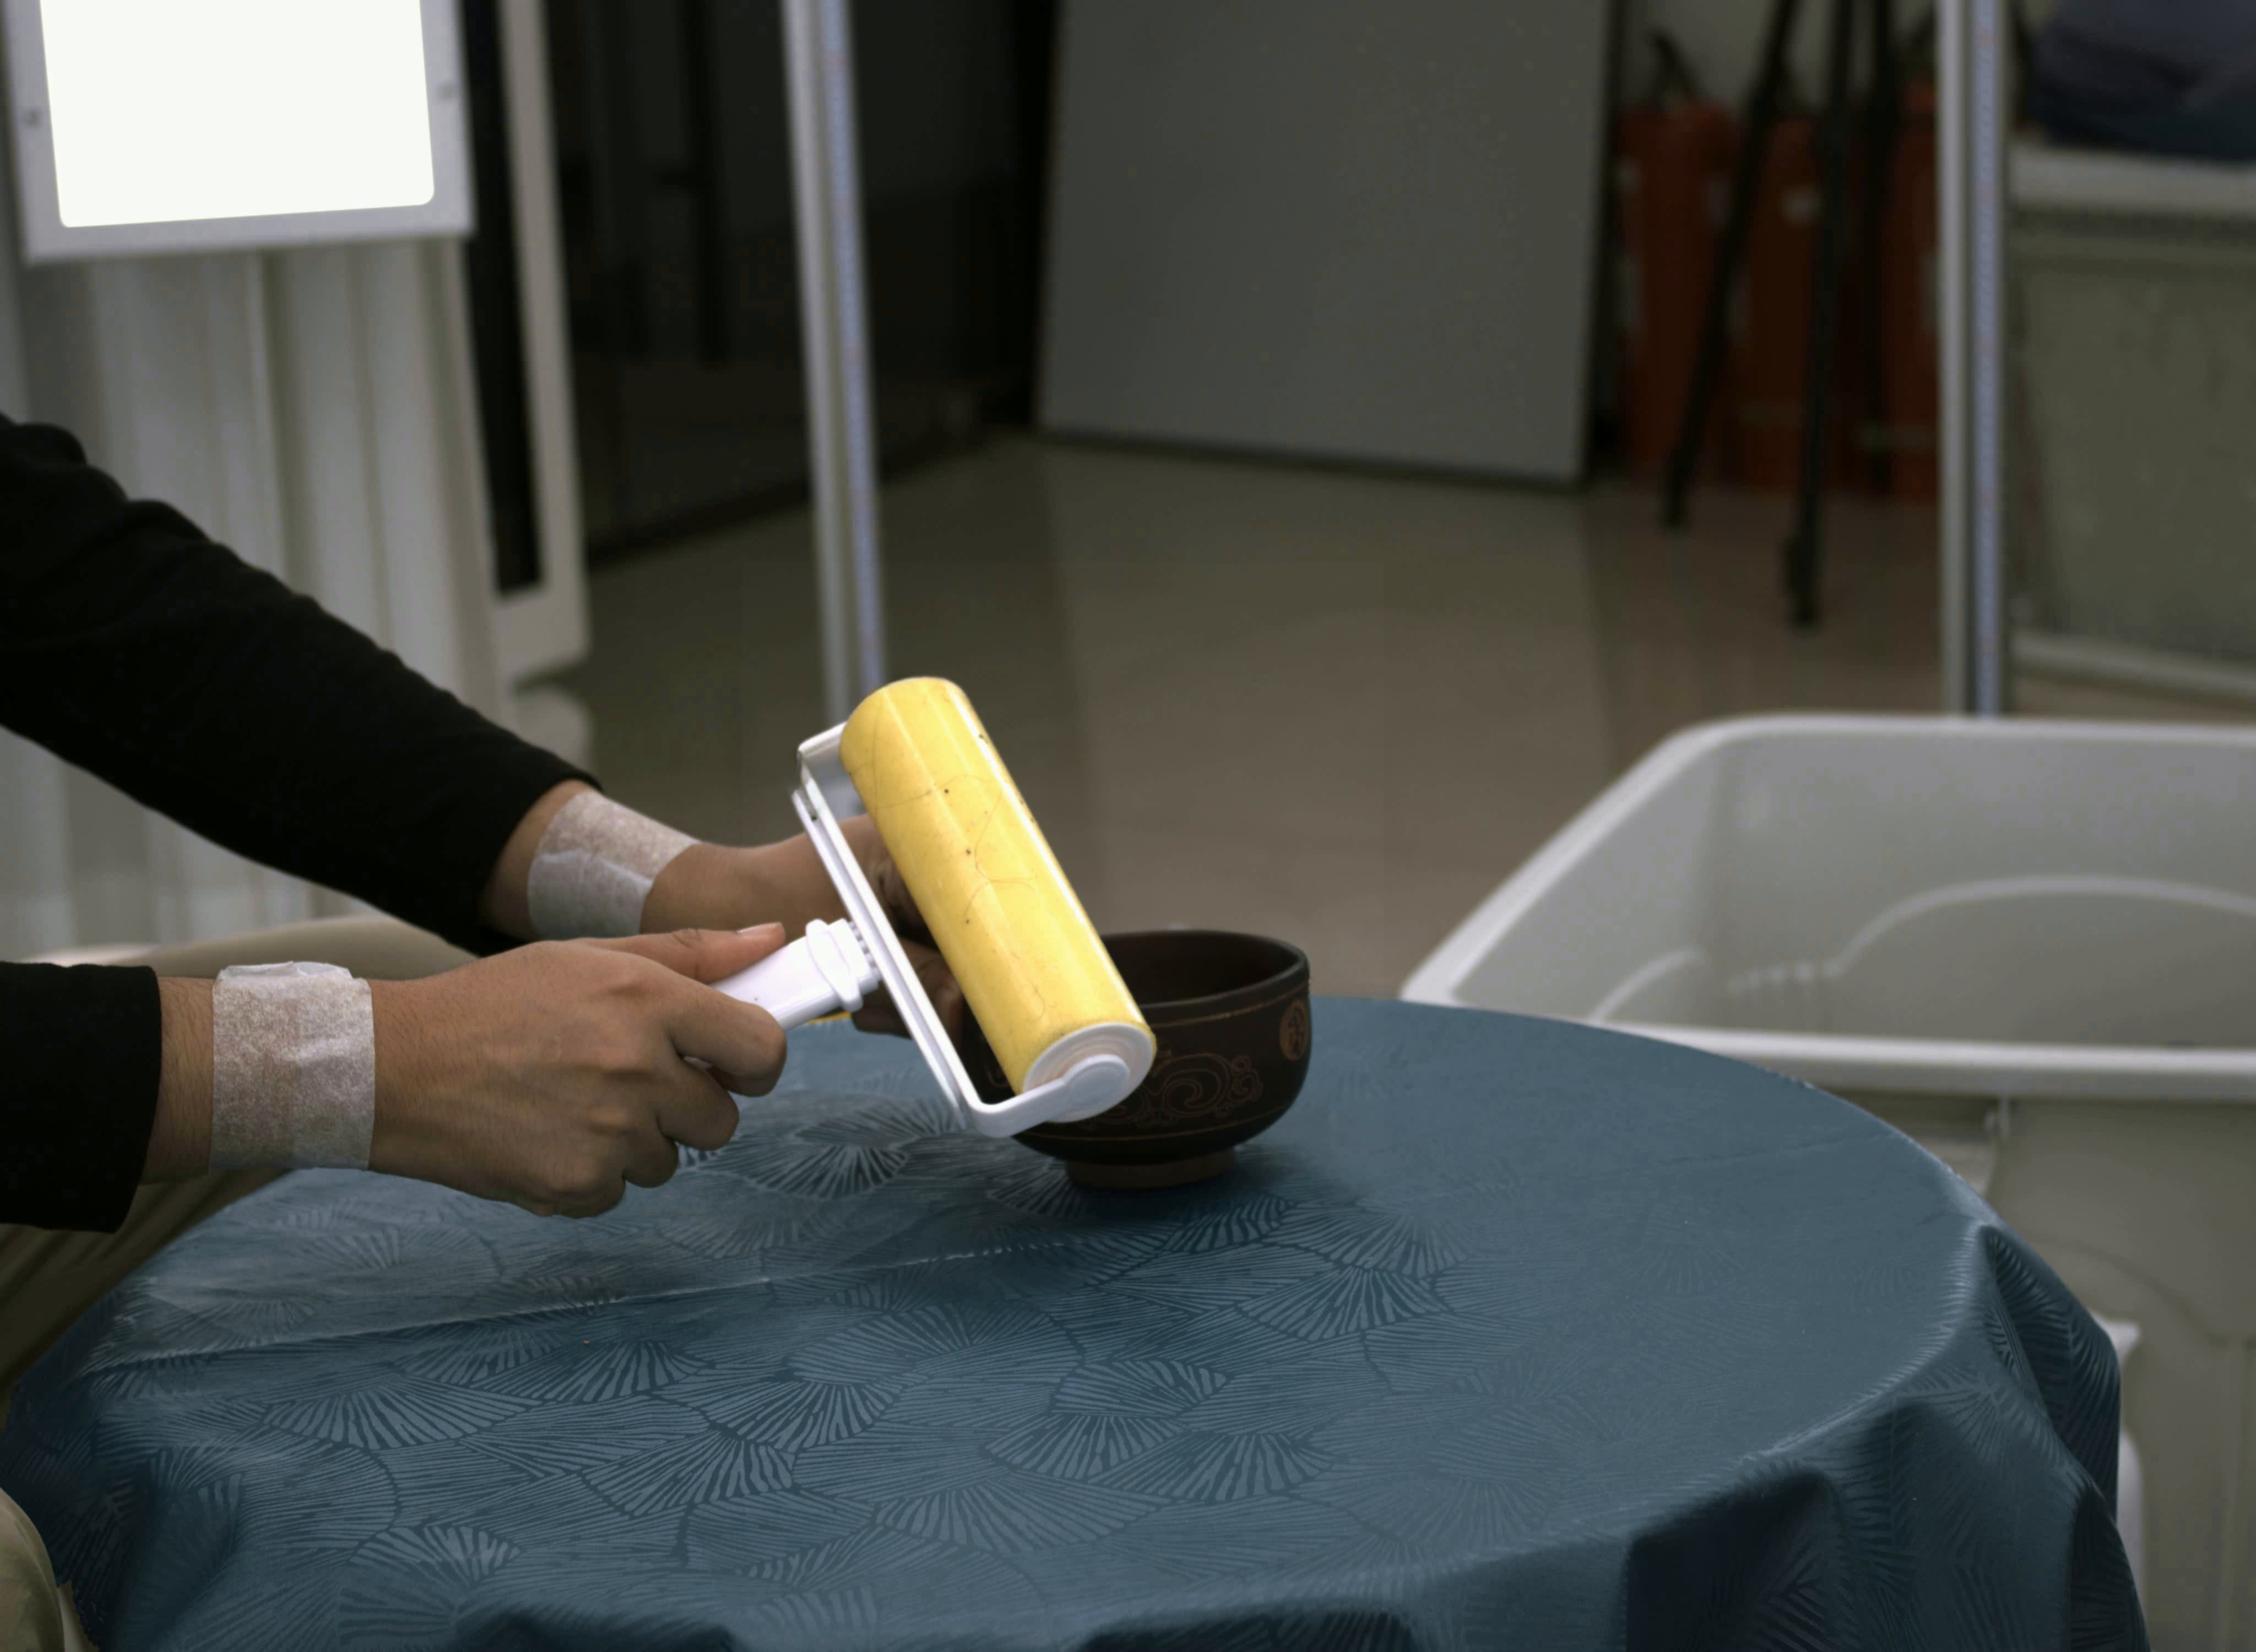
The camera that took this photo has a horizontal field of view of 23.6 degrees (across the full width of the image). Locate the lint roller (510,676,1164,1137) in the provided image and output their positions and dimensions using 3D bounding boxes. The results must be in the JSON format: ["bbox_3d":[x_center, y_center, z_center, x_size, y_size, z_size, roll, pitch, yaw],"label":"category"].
[{"bbox_3d":[-0.107,0.046,1.708,0.189,0.051,0.176,-19,49,-15],"label":"lint roller"}]

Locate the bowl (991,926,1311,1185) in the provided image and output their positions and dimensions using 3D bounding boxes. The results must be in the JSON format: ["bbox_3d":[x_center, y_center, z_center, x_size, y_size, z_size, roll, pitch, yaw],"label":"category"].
[{"bbox_3d":[0.004,0.078,1.781,0.116,0.070,0.118,-5,9,0],"label":"bowl"}]
